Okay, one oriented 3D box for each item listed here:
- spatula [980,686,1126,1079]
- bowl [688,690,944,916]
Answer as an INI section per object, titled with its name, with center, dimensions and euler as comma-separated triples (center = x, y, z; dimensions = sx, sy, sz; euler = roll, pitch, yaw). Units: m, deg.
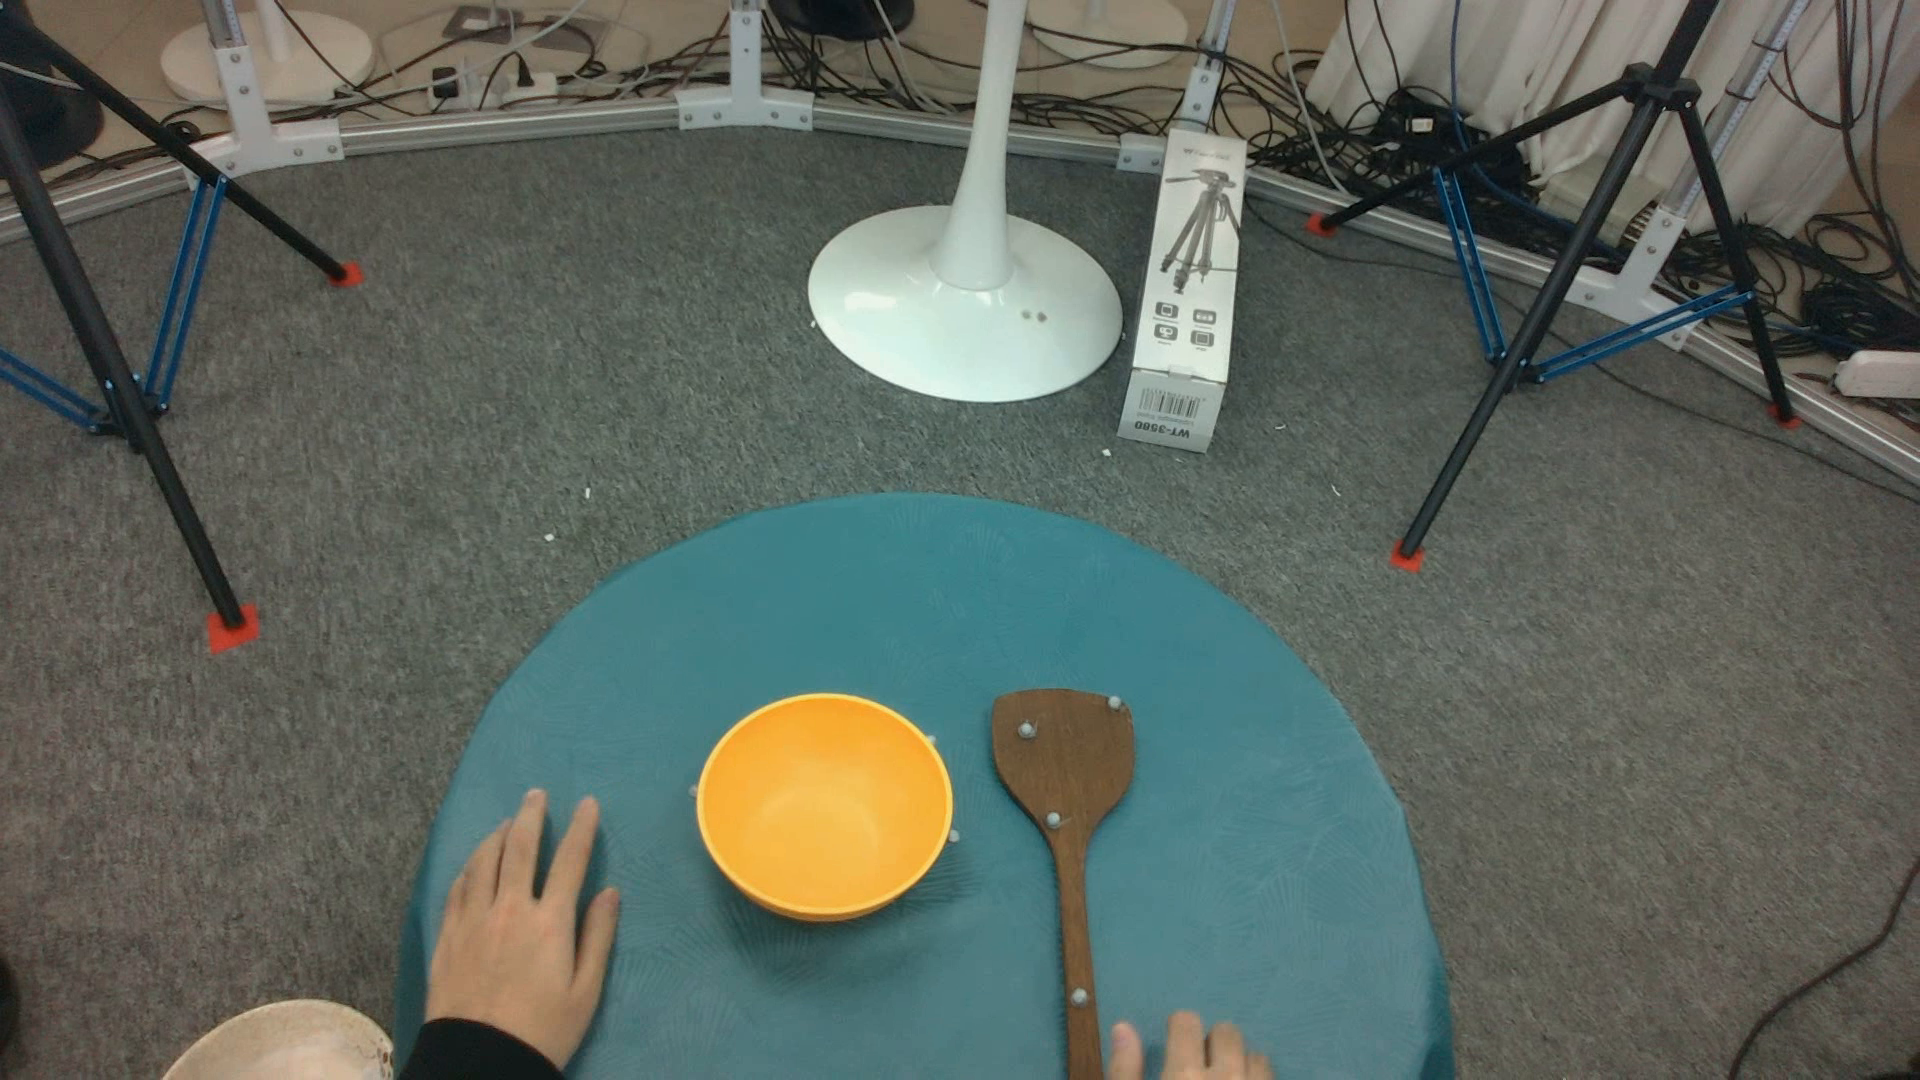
[spatula]
center = 0.062, 0.240, 0.783
dimensions = 0.096, 0.015, 0.388
euler = 4, 47, -5
[bowl]
center = -0.083, 0.162, 0.802
dimensions = 0.145, 0.060, 0.146
euler = 3, 47, -4
